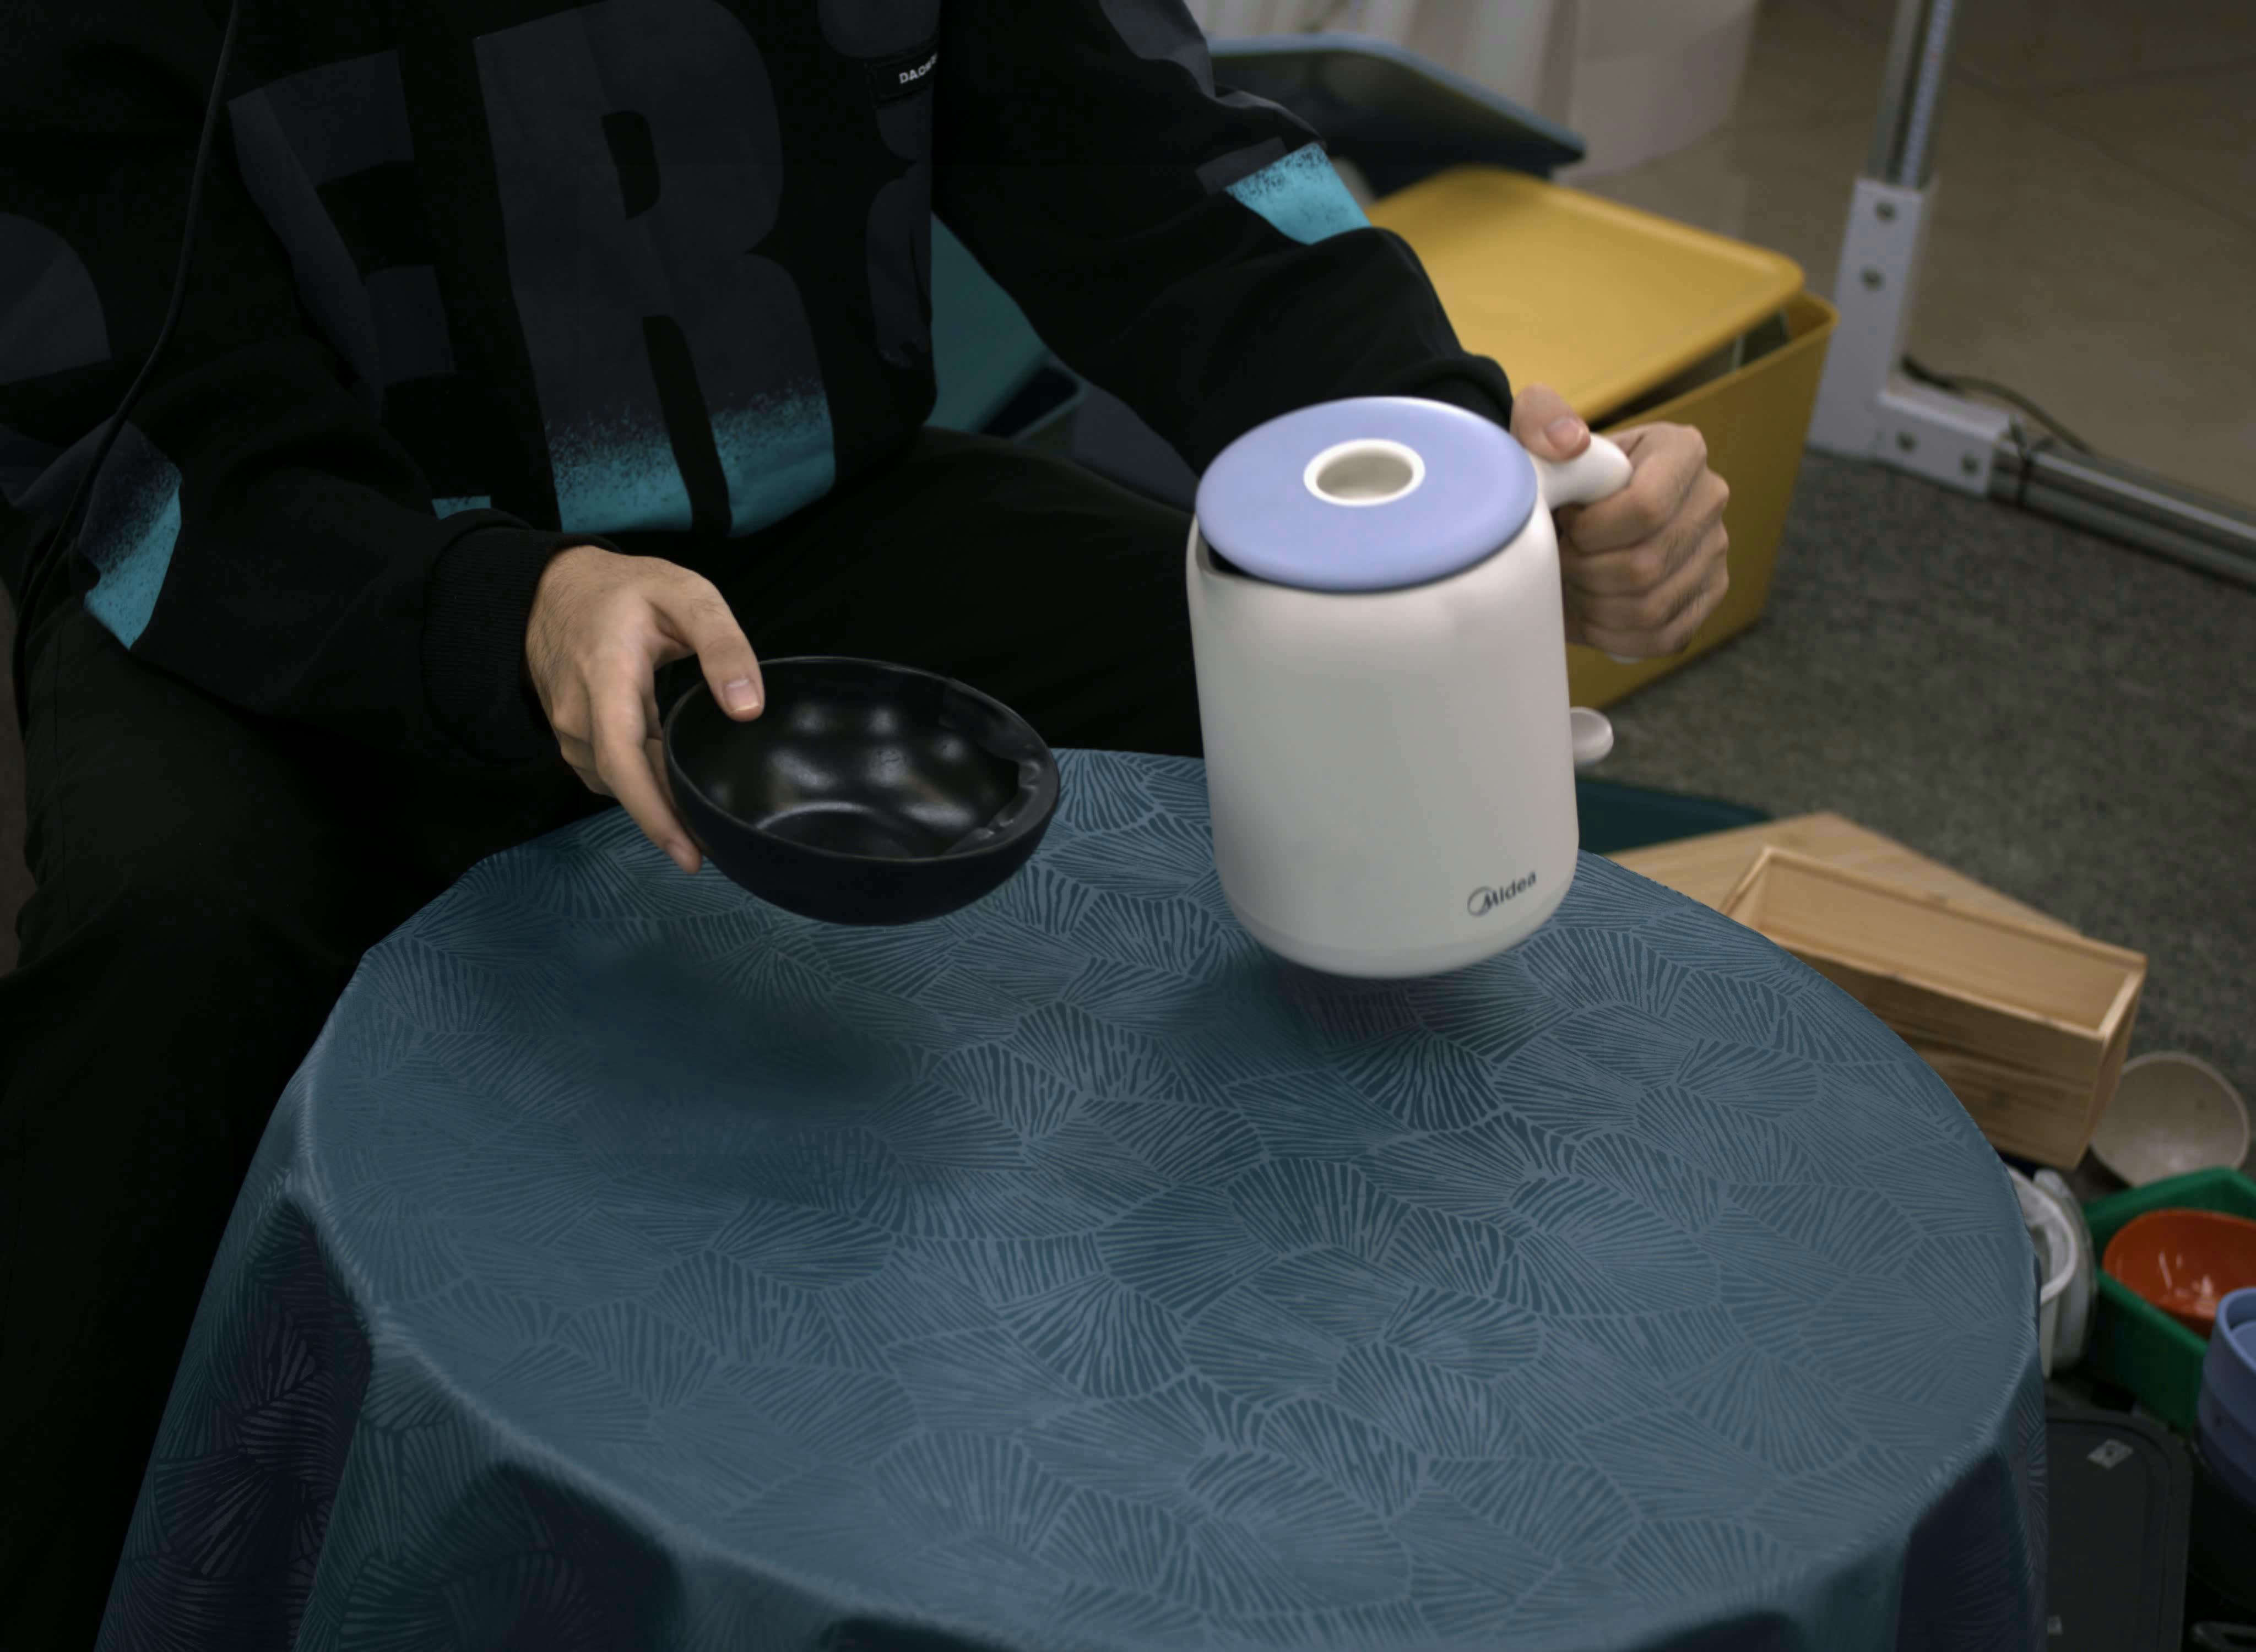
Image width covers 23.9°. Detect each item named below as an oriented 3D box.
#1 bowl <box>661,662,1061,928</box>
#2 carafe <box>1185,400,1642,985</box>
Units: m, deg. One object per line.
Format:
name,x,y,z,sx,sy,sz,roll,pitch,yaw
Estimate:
bowl,-0.094,-0.003,1.837,0.139,0.049,0.141,7,28,-4
carafe,0.108,-0.056,1.888,0.190,0.181,0.133,-24,39,-27
